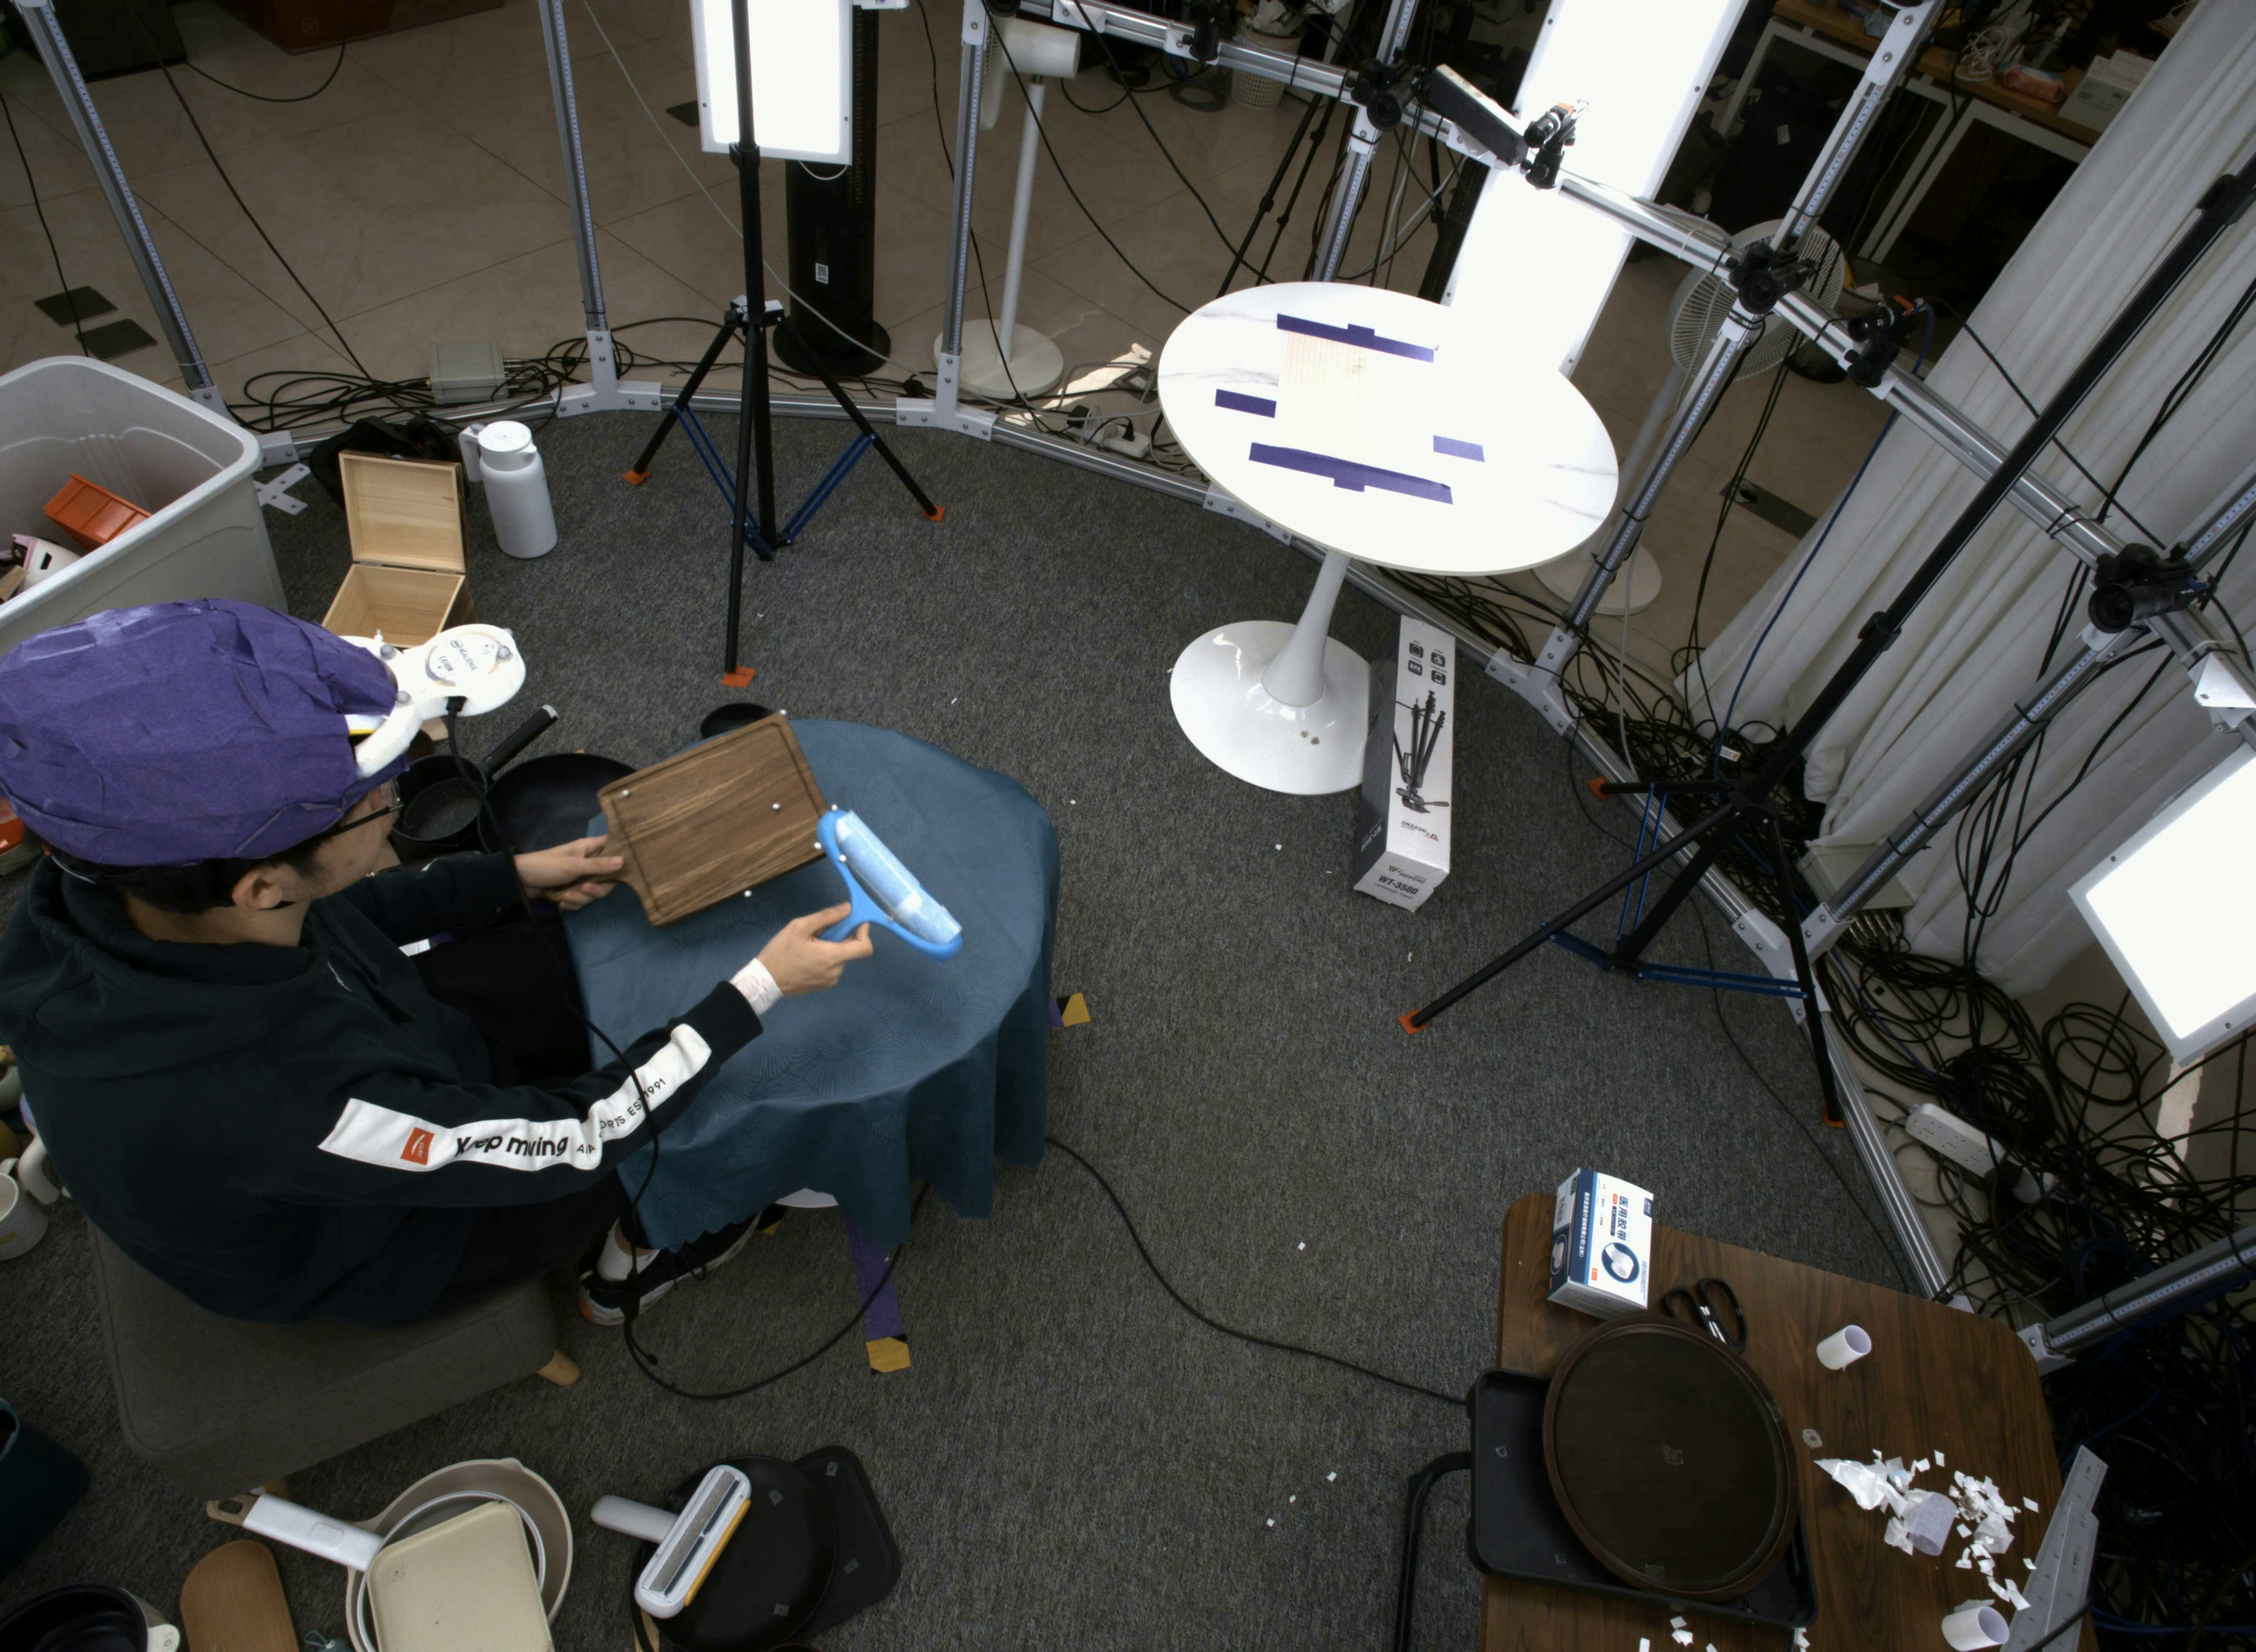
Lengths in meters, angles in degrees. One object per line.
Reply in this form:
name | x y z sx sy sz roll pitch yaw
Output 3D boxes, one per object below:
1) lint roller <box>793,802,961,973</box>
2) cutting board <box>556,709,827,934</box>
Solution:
lint roller | -0.316 0.099 1.517 0.232 0.067 0.180 46 57 -12
cutting board | -0.549 0.011 1.580 0.351 0.023 0.200 -26 80 -13
